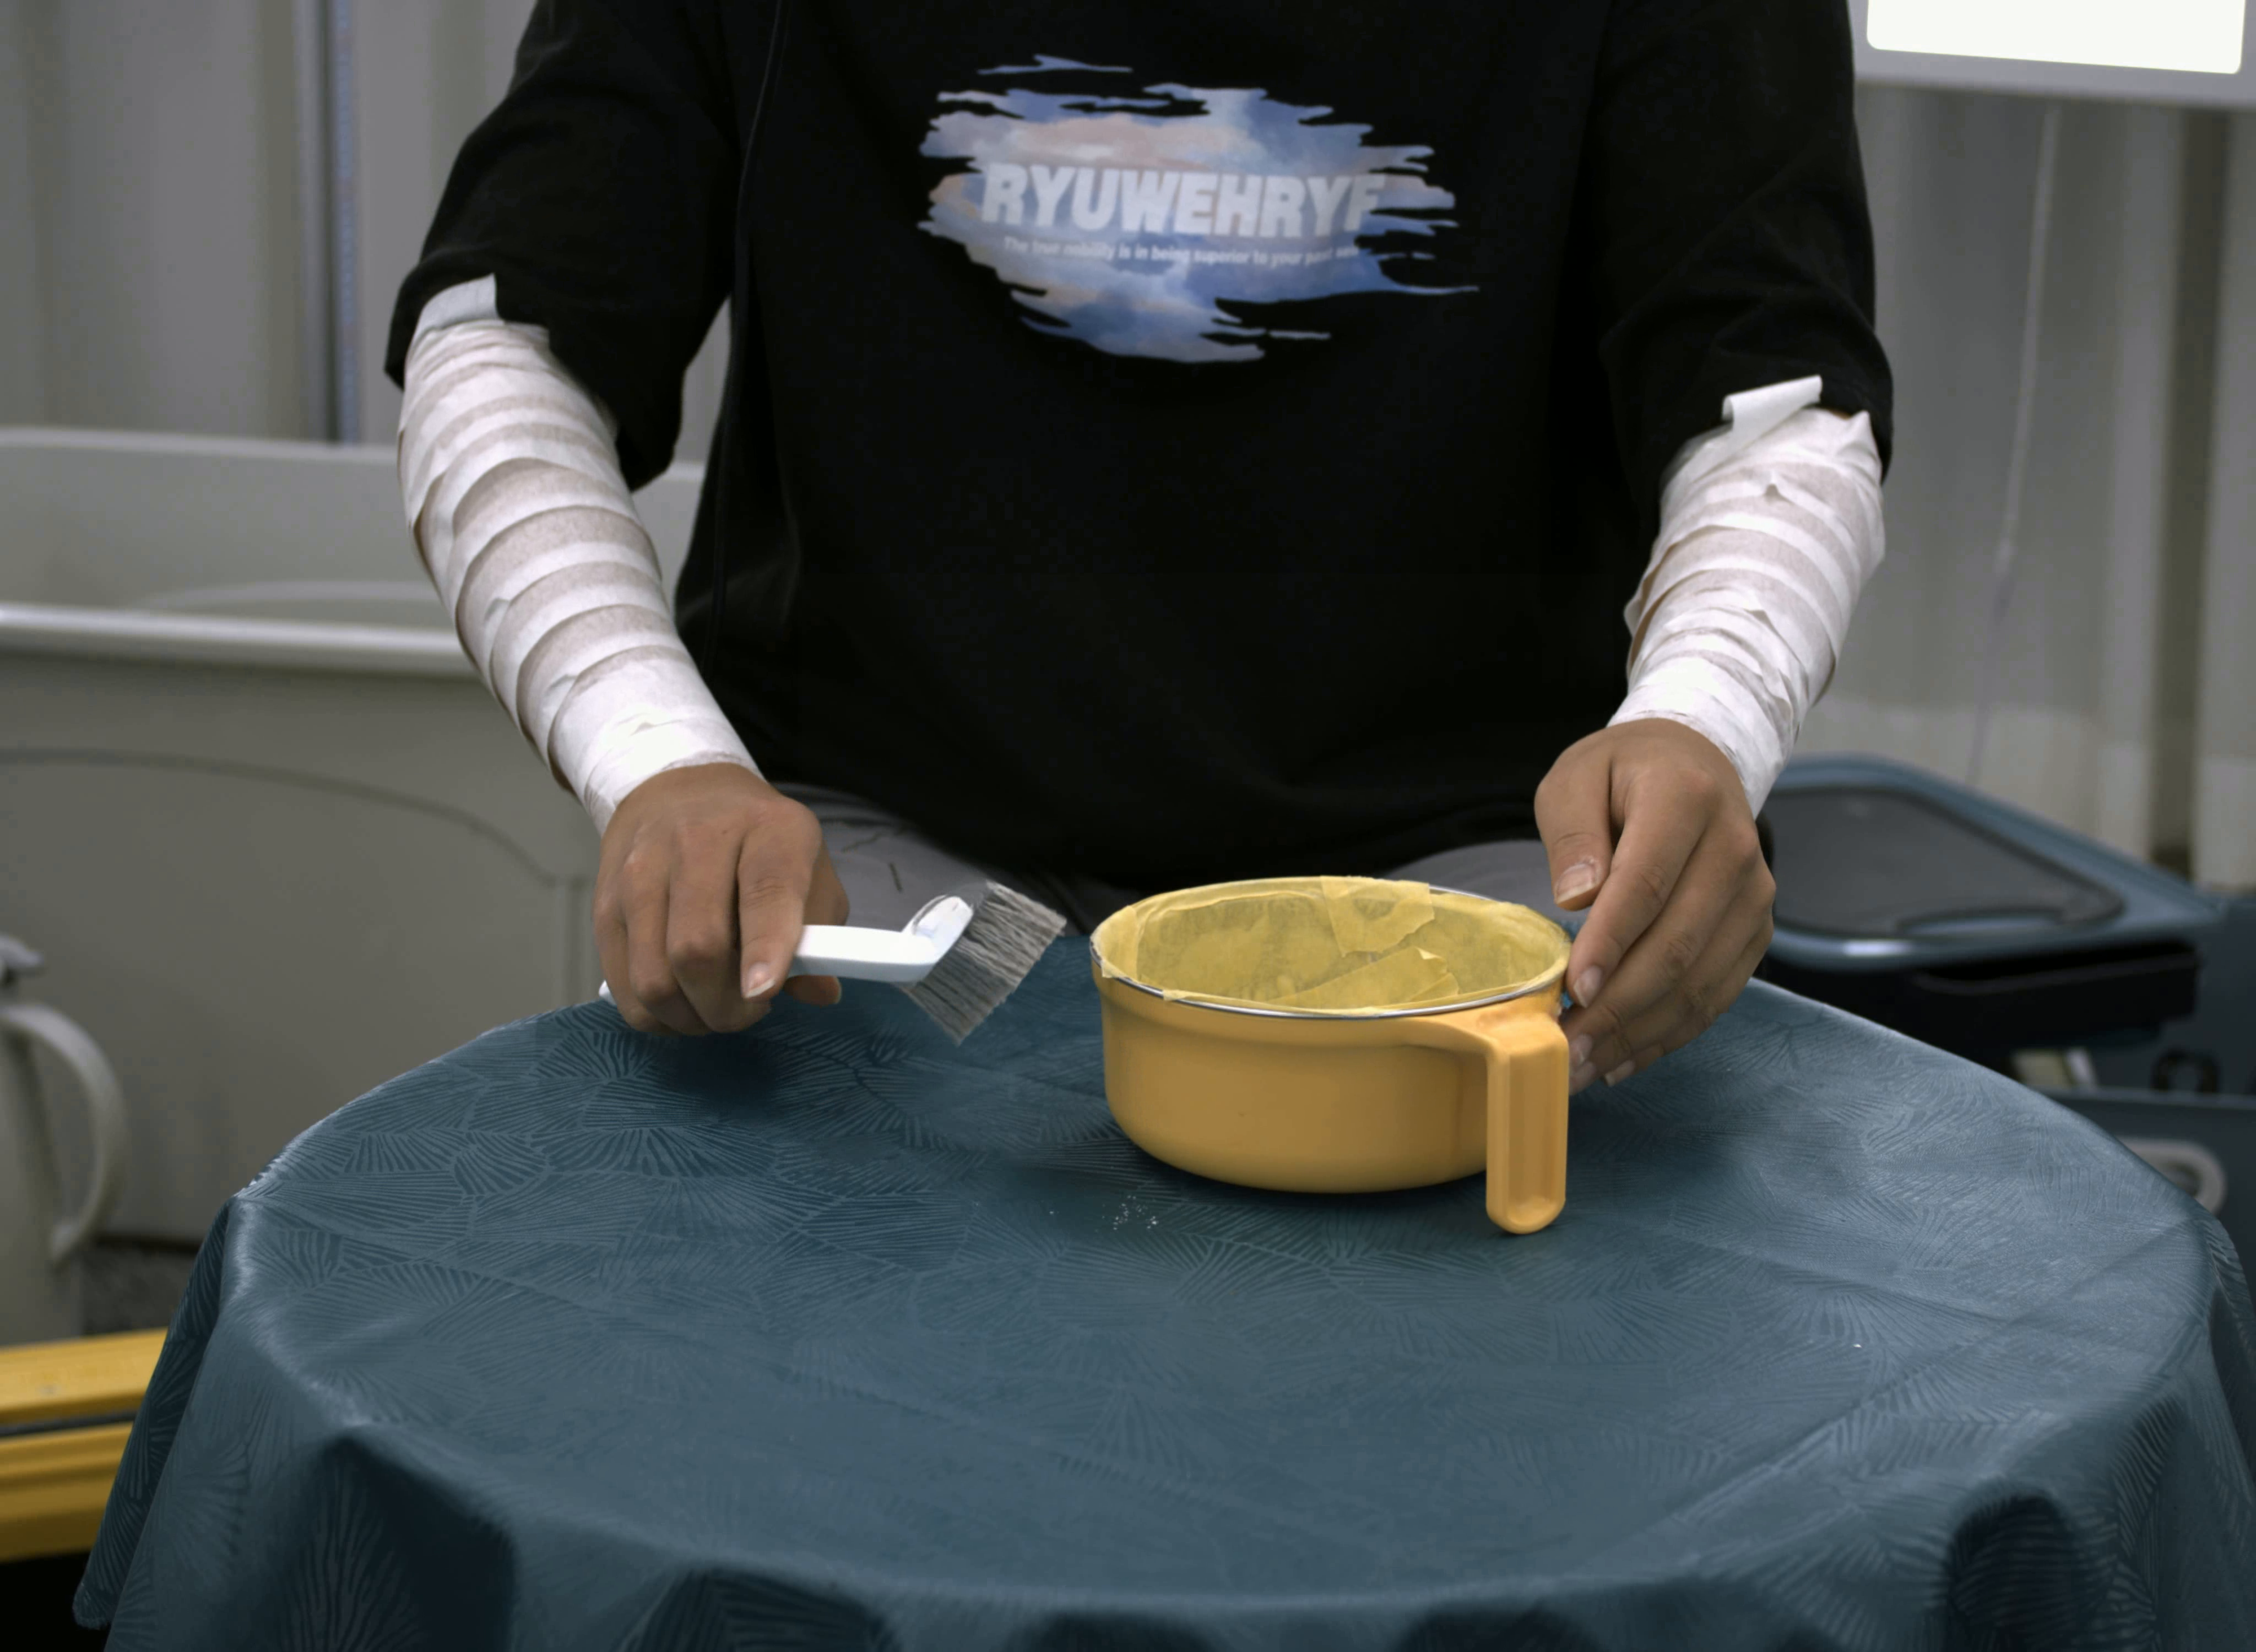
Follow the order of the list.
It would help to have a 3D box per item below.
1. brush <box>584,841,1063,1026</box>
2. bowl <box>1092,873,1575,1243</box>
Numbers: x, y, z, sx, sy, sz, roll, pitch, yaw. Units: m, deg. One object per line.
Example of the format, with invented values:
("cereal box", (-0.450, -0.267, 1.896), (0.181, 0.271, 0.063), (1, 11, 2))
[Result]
("brush", (-0.098, 0.049, 1.687), (0.242, 0.050, 0.034), (-18, 36, 54))
("bowl", (0.070, 0.071, 1.649), (0.154, 0.075, 0.177), (-7, 17, -38))
